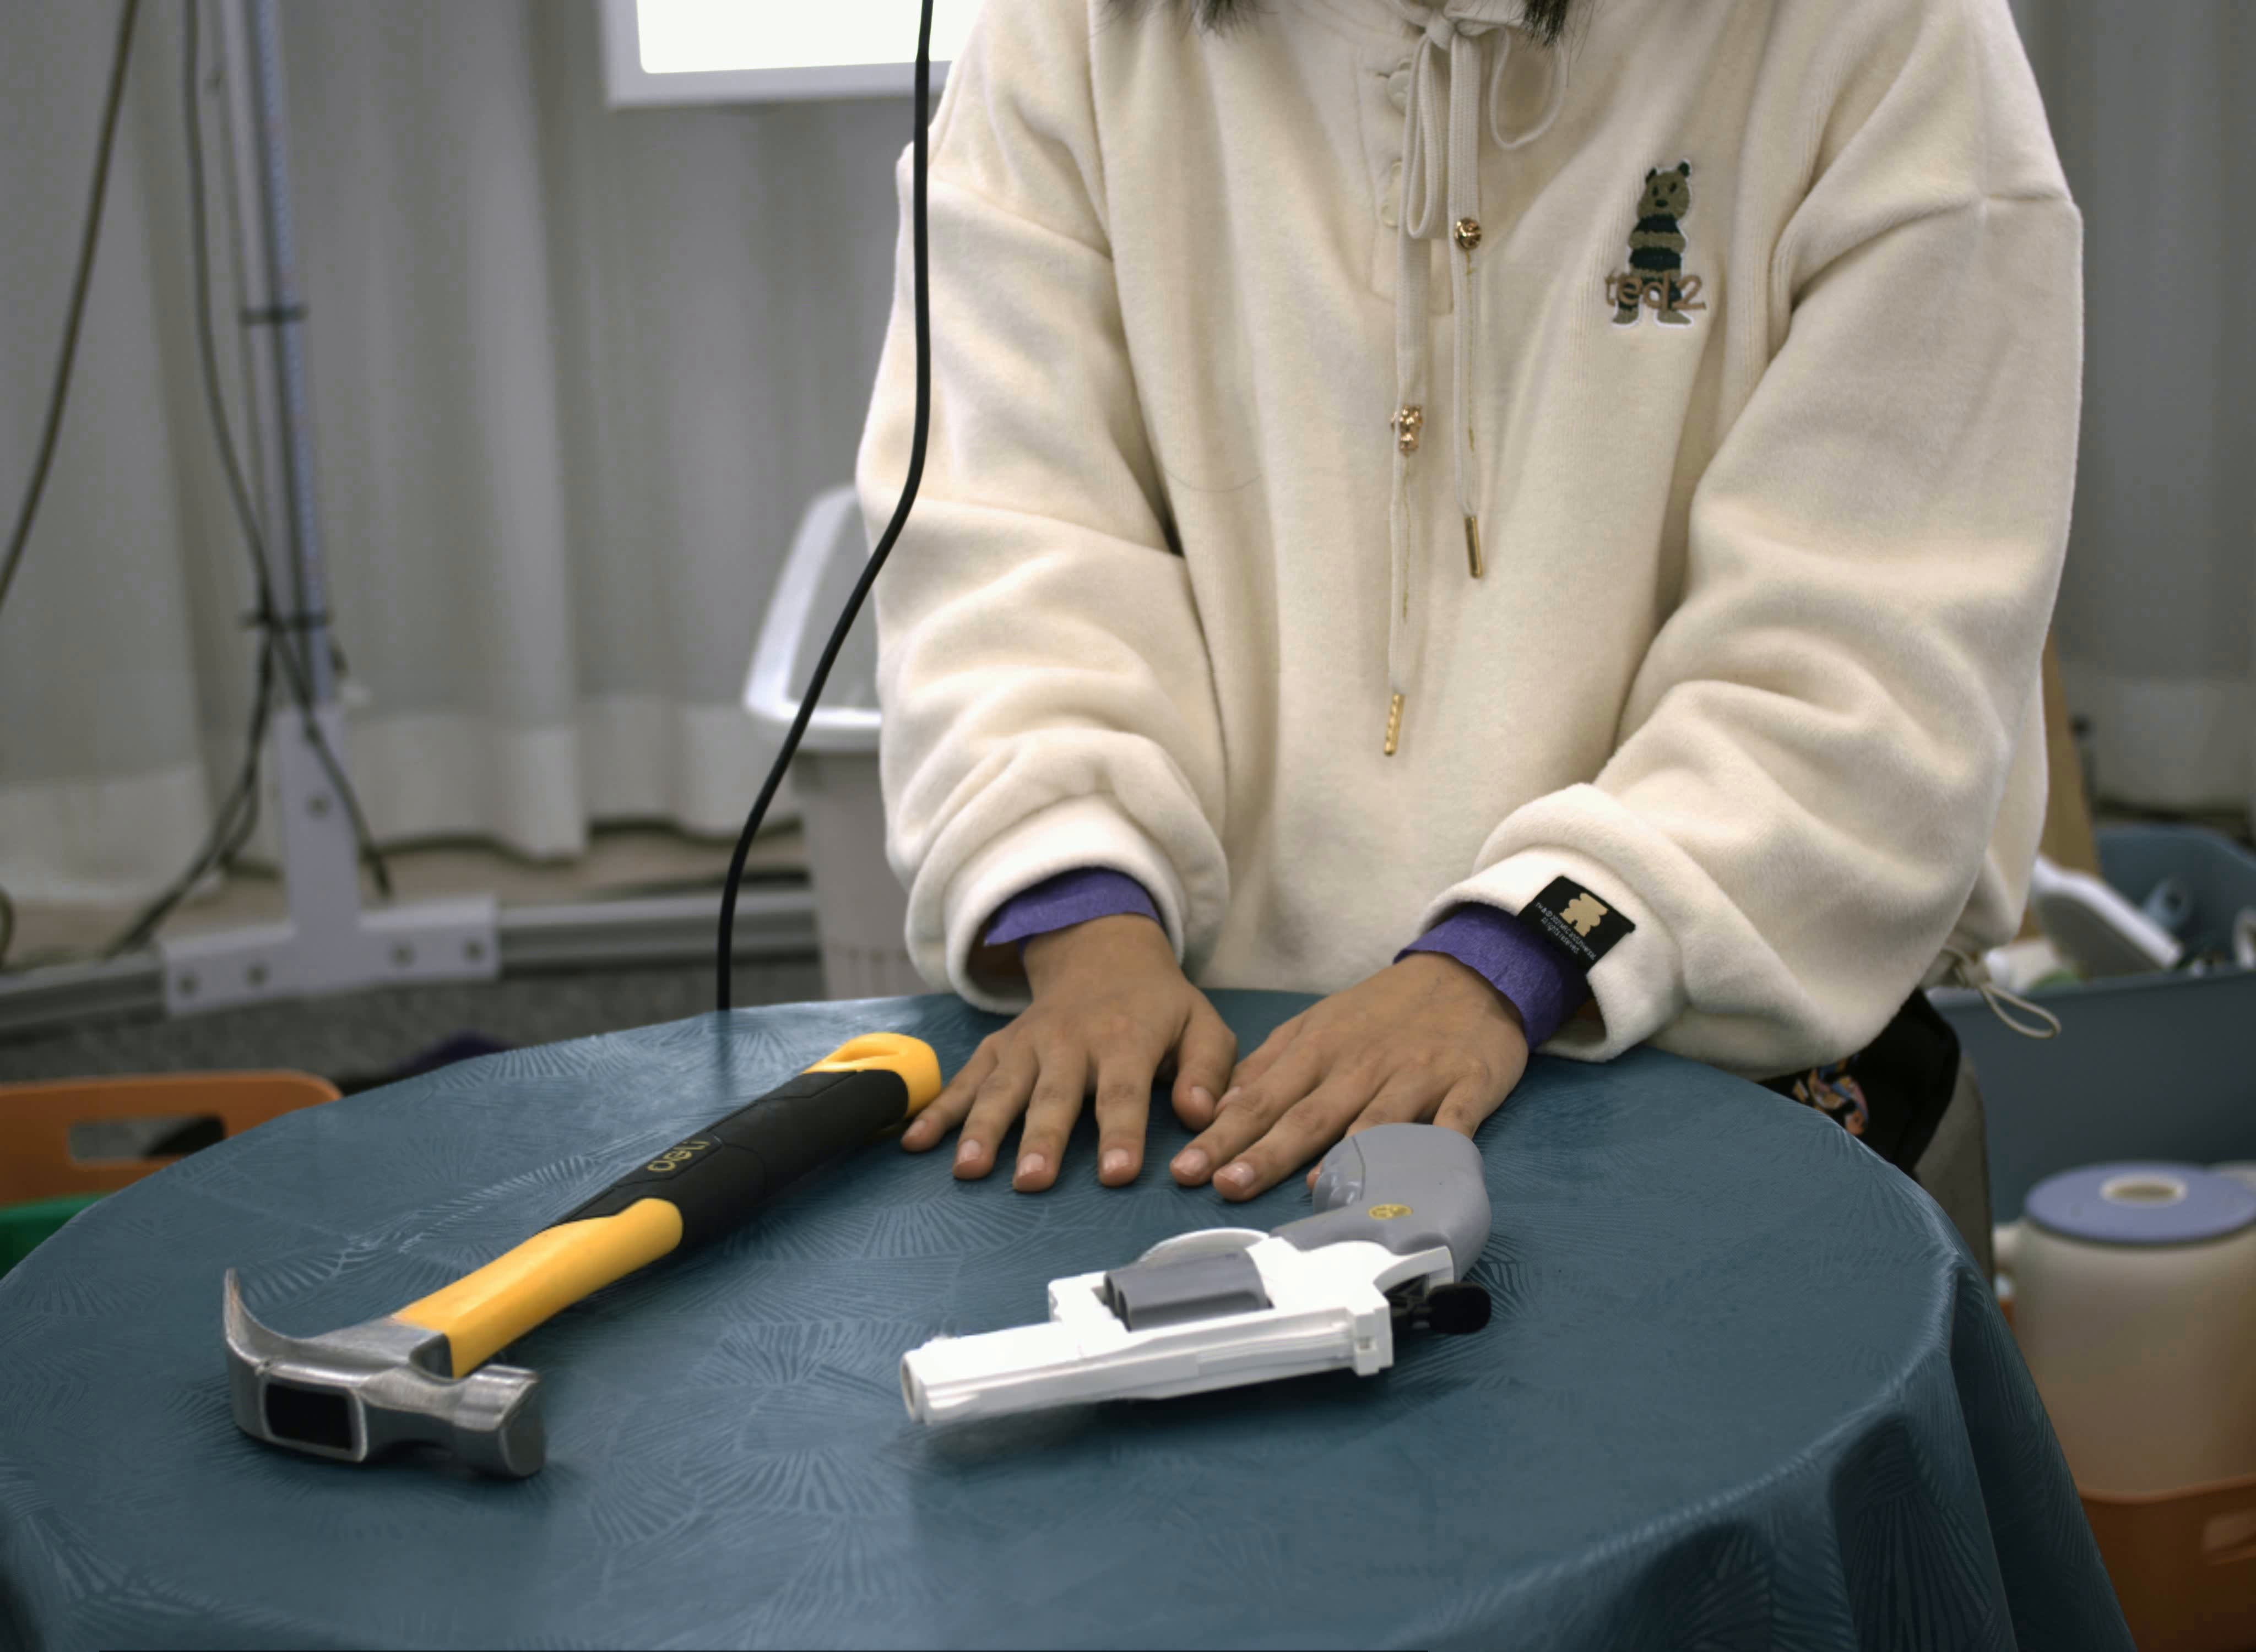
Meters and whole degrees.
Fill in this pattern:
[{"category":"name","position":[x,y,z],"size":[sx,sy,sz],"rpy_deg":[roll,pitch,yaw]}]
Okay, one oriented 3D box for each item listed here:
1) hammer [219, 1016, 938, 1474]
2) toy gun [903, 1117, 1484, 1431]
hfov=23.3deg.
[{"category":"hammer","position":[-0.152,0.118,1.659],"size":[0.131,0.032,0.339],"rpy_deg":[2,17,27]},{"category":"toy gun","position":[0.024,0.130,1.574],"size":[0.208,0.038,0.143],"rpy_deg":[-8,16,-17]}]
